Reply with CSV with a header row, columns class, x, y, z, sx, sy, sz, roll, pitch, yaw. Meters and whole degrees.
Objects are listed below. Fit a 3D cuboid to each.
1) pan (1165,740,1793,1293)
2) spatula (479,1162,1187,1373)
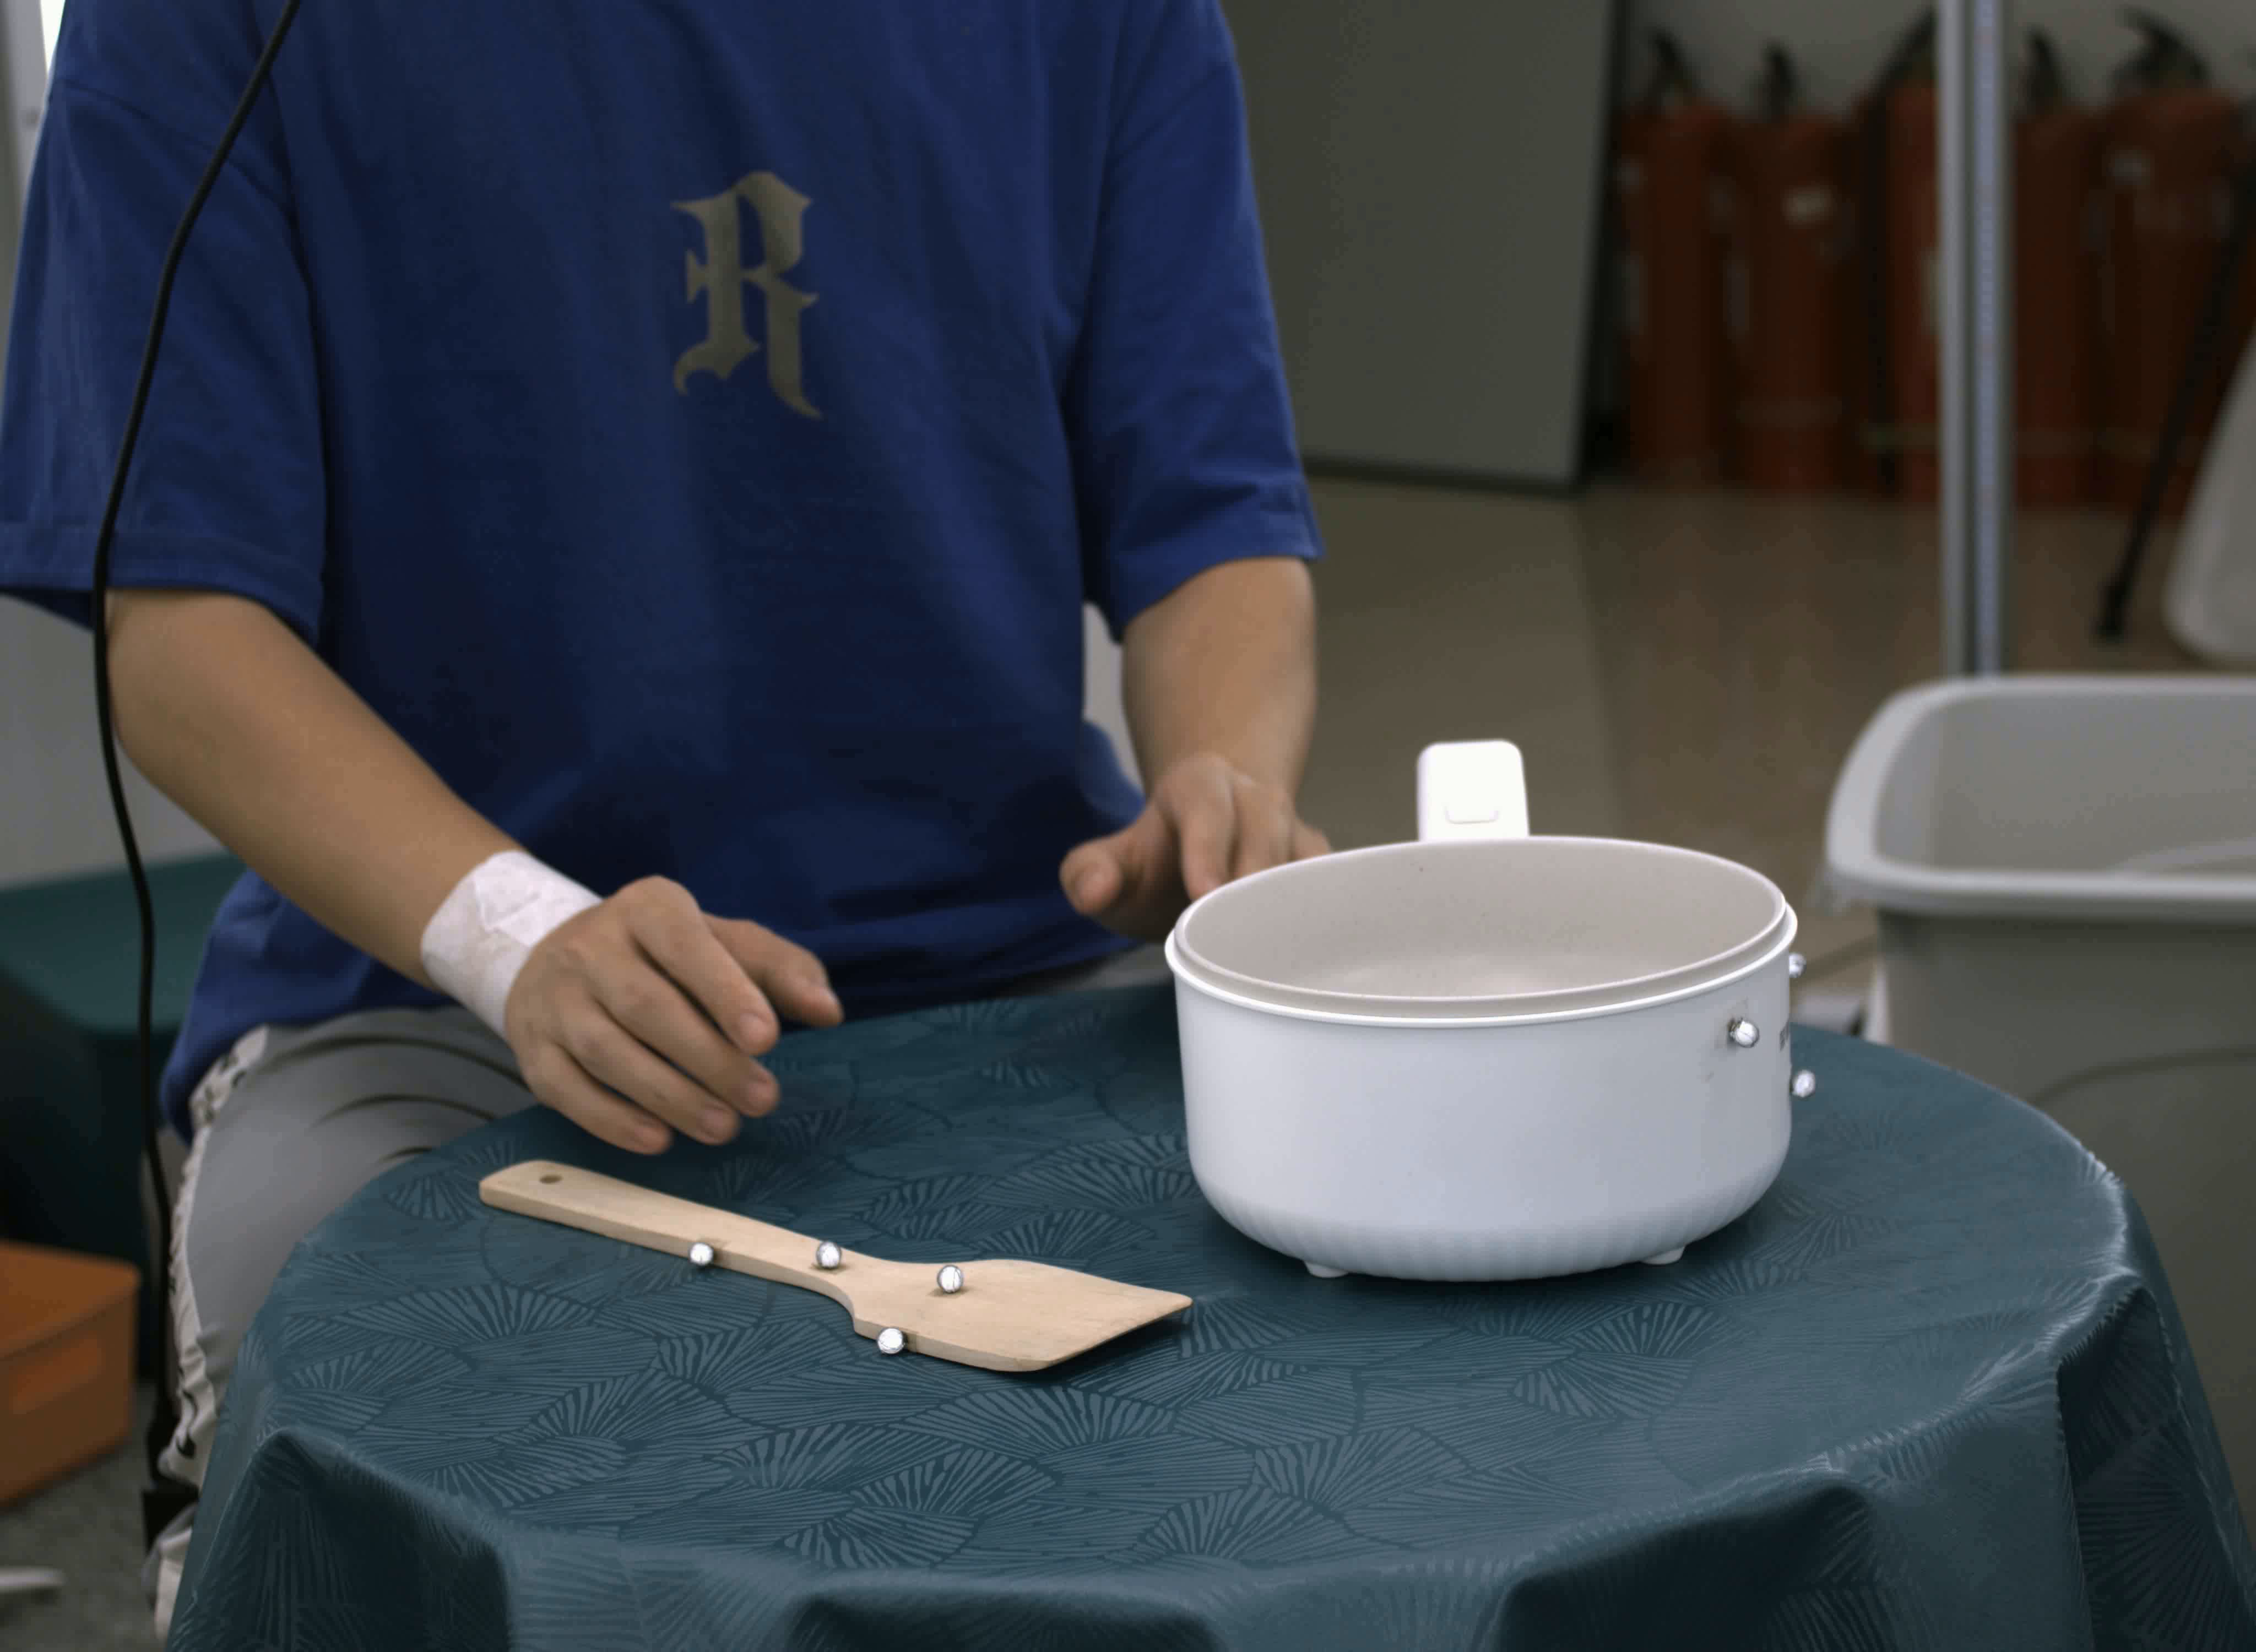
class,x,y,z,sx,sy,sz,roll,pitch,yaw
pan,0.118,0.059,1.787,0.199,0.103,0.354,-5,14,4
spatula,-0.107,0.137,1.717,0.296,0.011,0.071,10,20,44
